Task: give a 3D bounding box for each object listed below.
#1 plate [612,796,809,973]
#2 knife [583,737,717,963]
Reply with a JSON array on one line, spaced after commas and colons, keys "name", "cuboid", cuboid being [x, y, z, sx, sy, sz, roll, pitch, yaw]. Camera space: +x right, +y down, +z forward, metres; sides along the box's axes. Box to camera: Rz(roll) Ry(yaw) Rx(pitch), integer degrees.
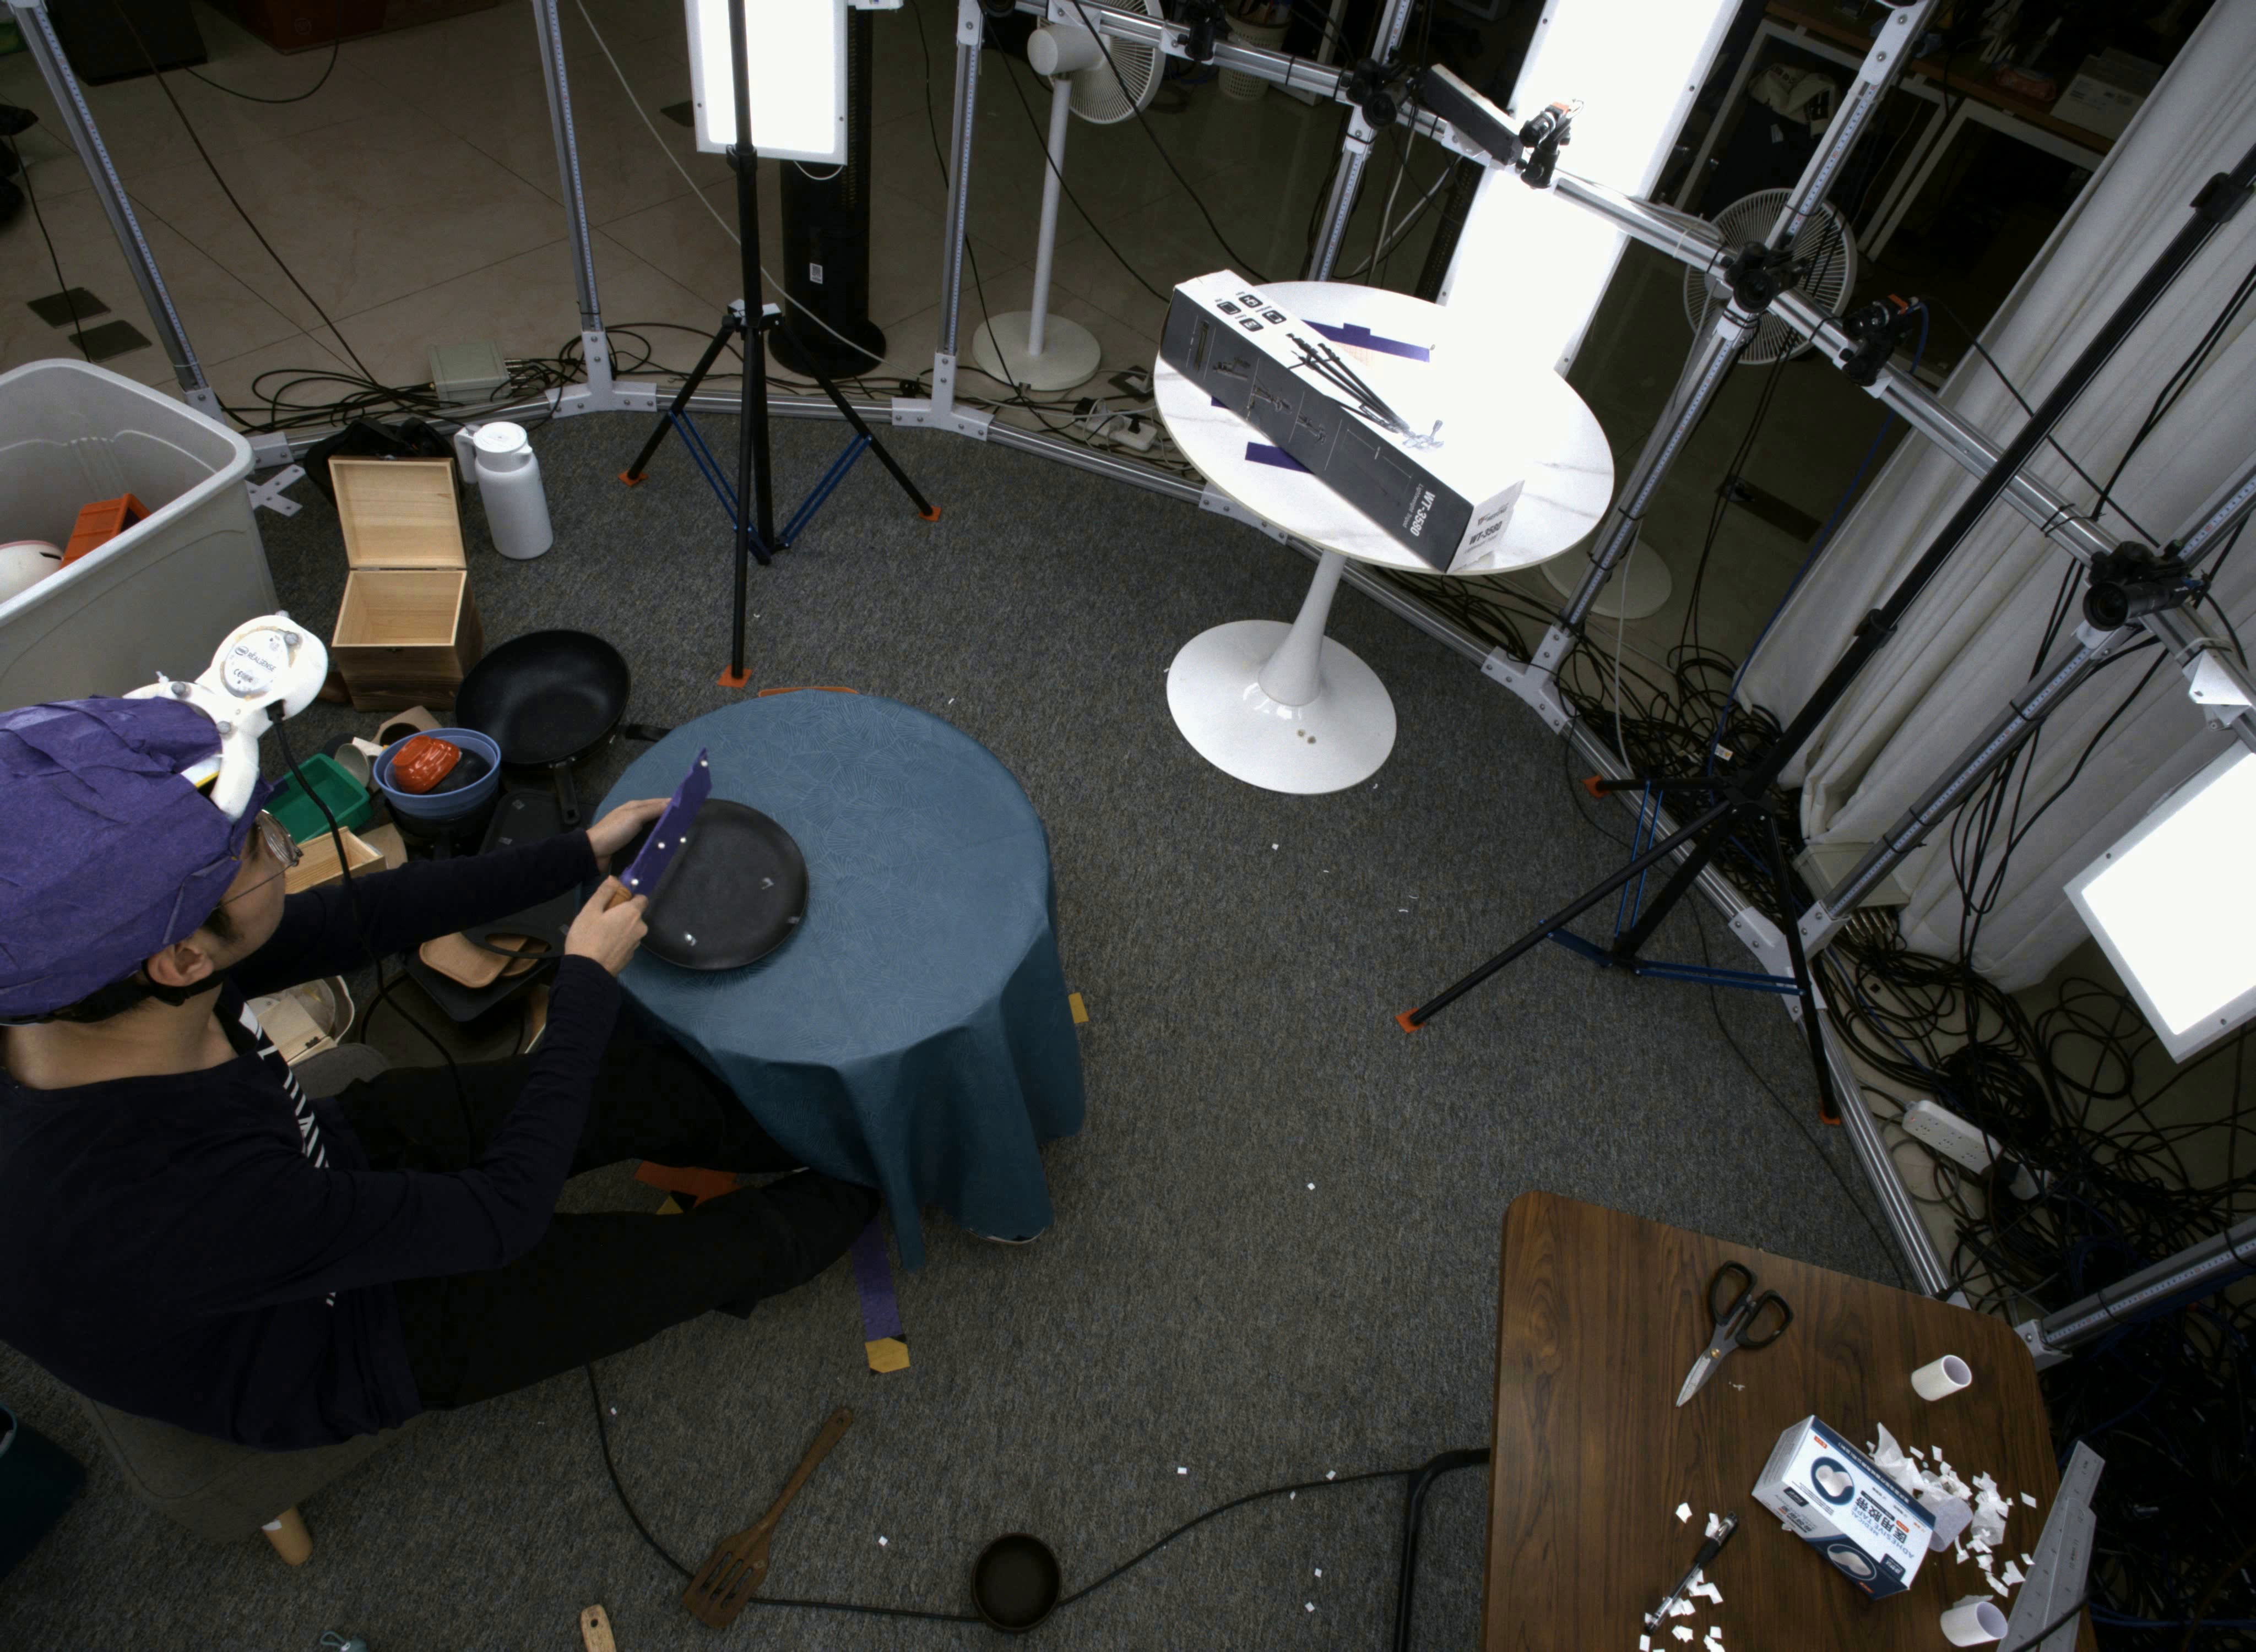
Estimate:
[{"name": "plate", "cuboid": [-0.524, 0.072, 1.617, 0.247, 0.023, 0.241, 13, 58, -19]}, {"name": "knife", "cuboid": [-0.559, 0.039, 1.525, 0.032, 0.106, 0.312, 17, 55, 3]}]
